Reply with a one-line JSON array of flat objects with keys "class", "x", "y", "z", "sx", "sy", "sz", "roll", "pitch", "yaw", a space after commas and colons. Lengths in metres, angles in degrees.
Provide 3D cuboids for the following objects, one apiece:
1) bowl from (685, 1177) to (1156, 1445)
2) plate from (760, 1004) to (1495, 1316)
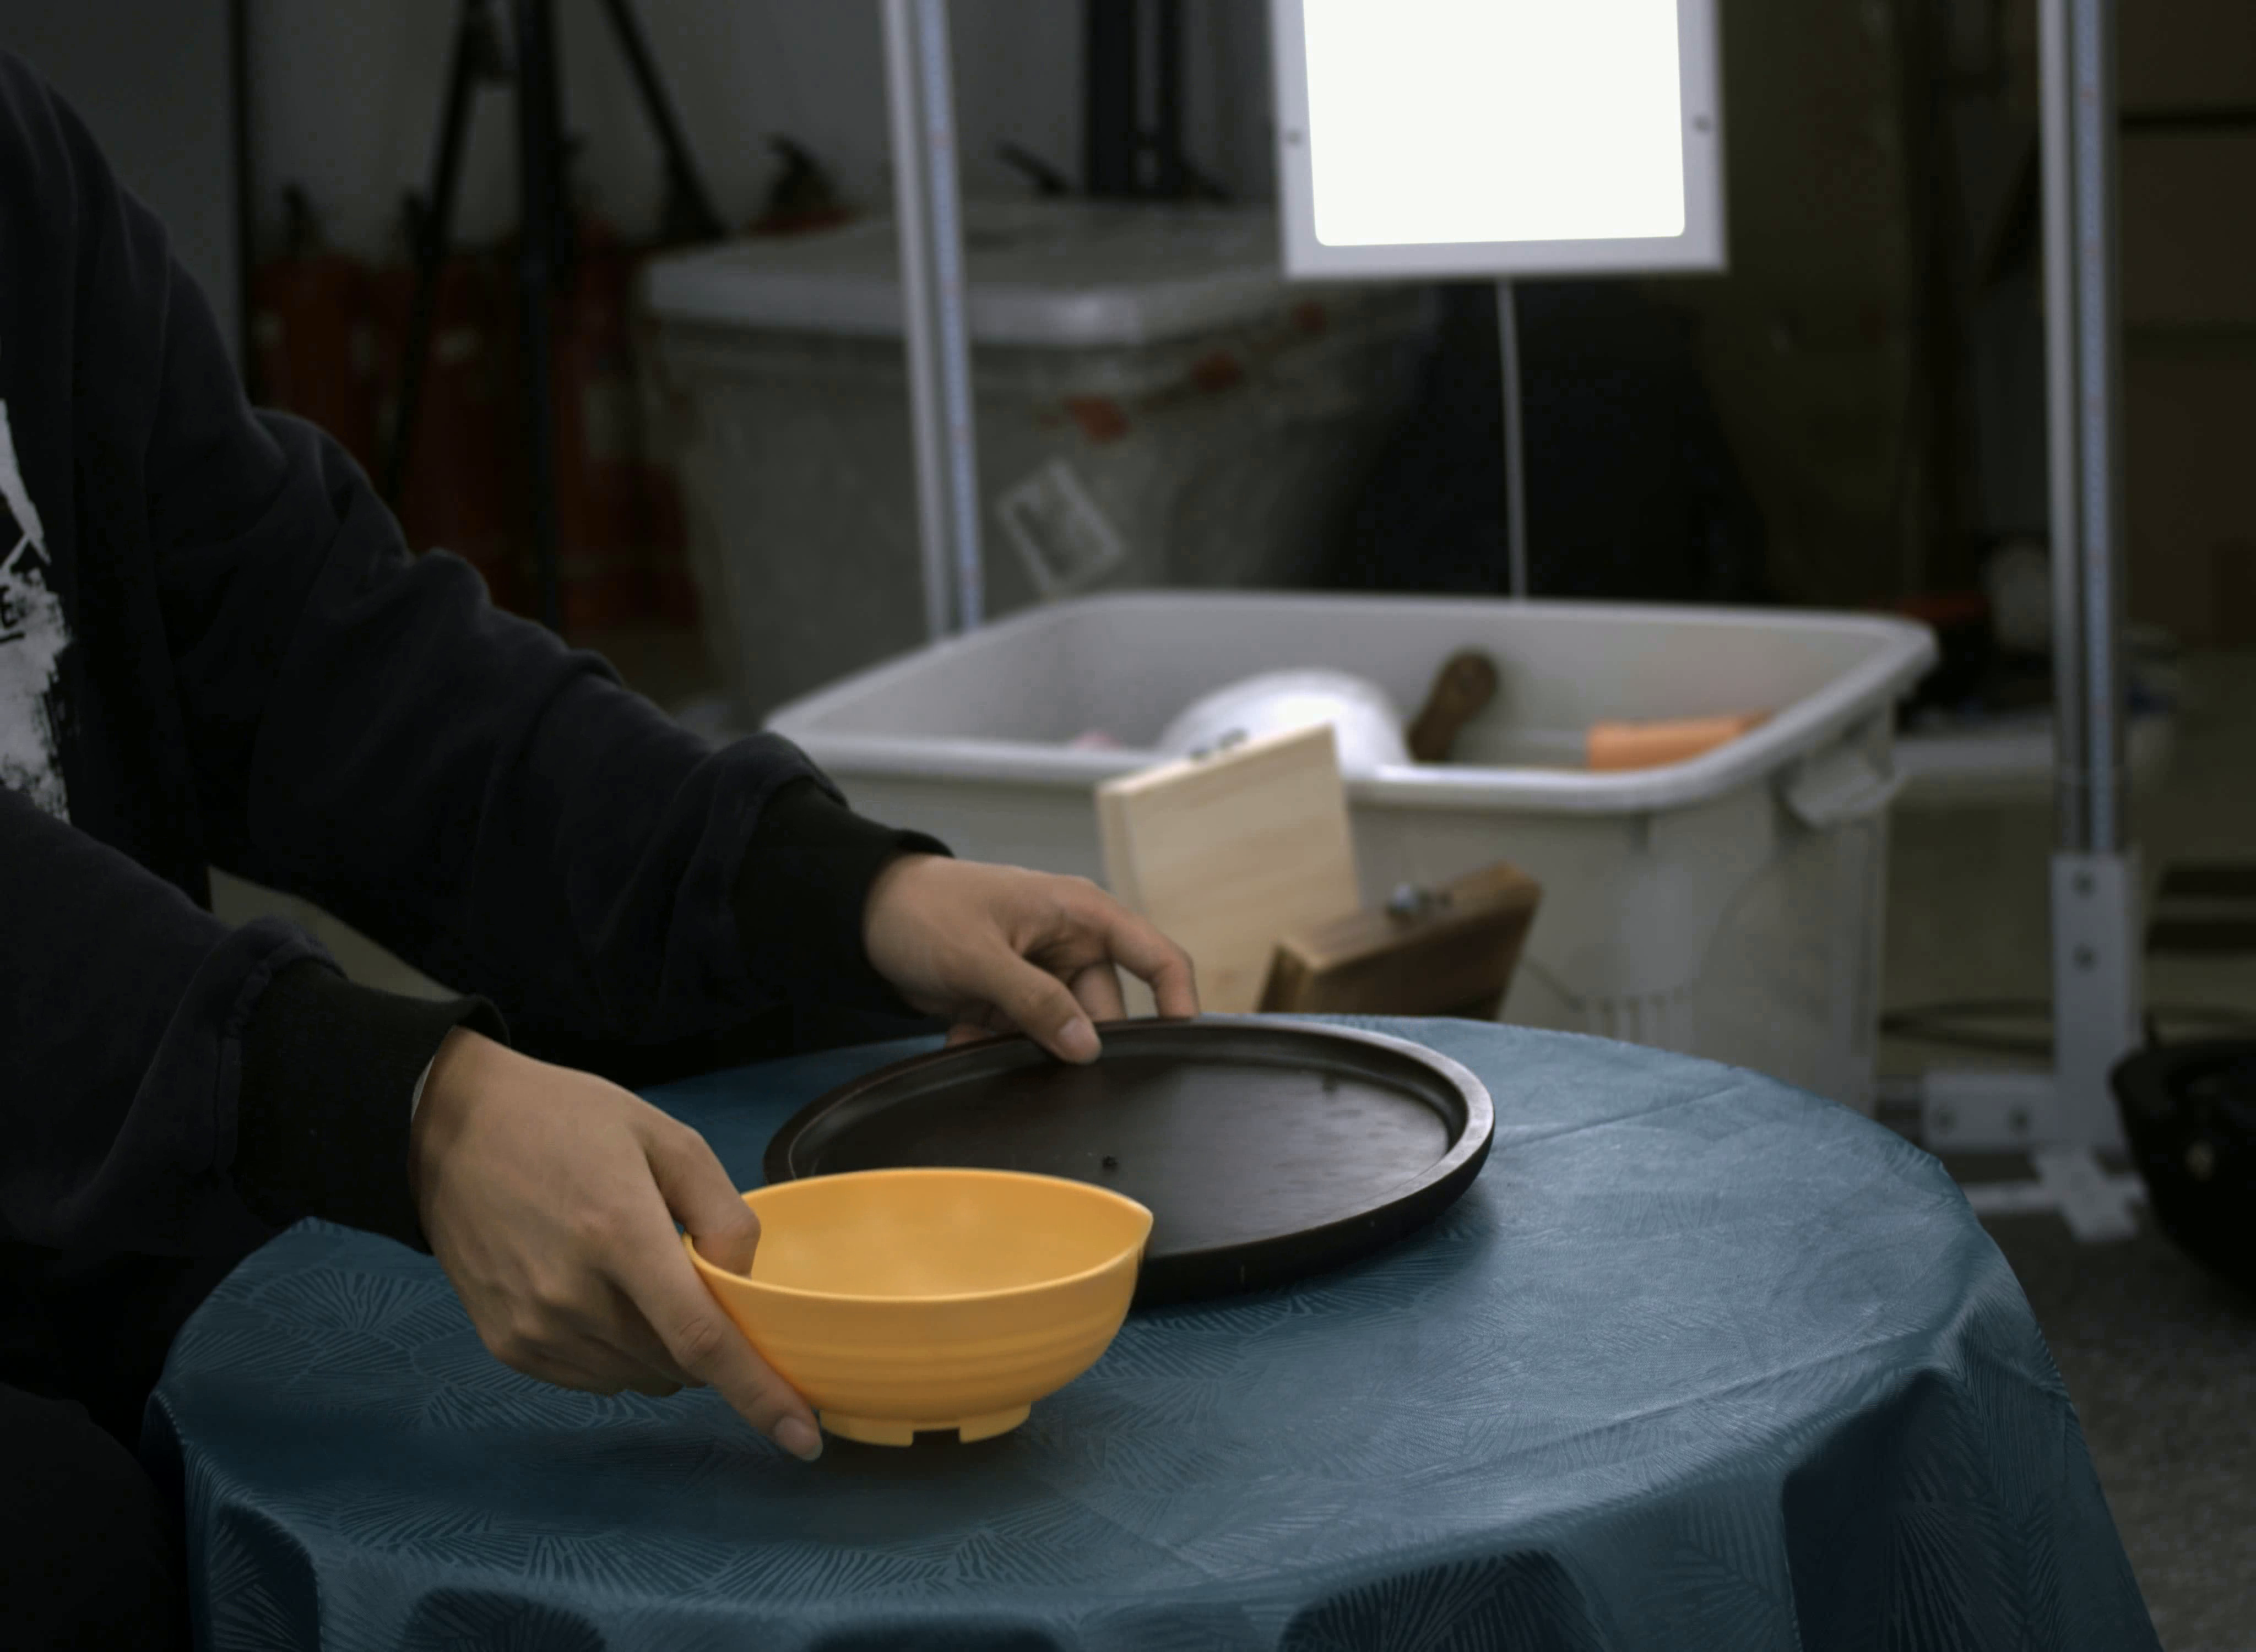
[{"class": "bowl", "x": -0.061, "y": 0.150, "z": 1.671, "sx": 0.145, "sy": 0.060, "sz": 0.145, "roll": -3, "pitch": 10, "yaw": -1}, {"class": "plate", "x": 0.001, "y": 0.114, "z": 1.887, "sx": 0.254, "sy": 0.029, "sz": 0.254, "roll": -7, "pitch": 17, "yaw": 1}]
